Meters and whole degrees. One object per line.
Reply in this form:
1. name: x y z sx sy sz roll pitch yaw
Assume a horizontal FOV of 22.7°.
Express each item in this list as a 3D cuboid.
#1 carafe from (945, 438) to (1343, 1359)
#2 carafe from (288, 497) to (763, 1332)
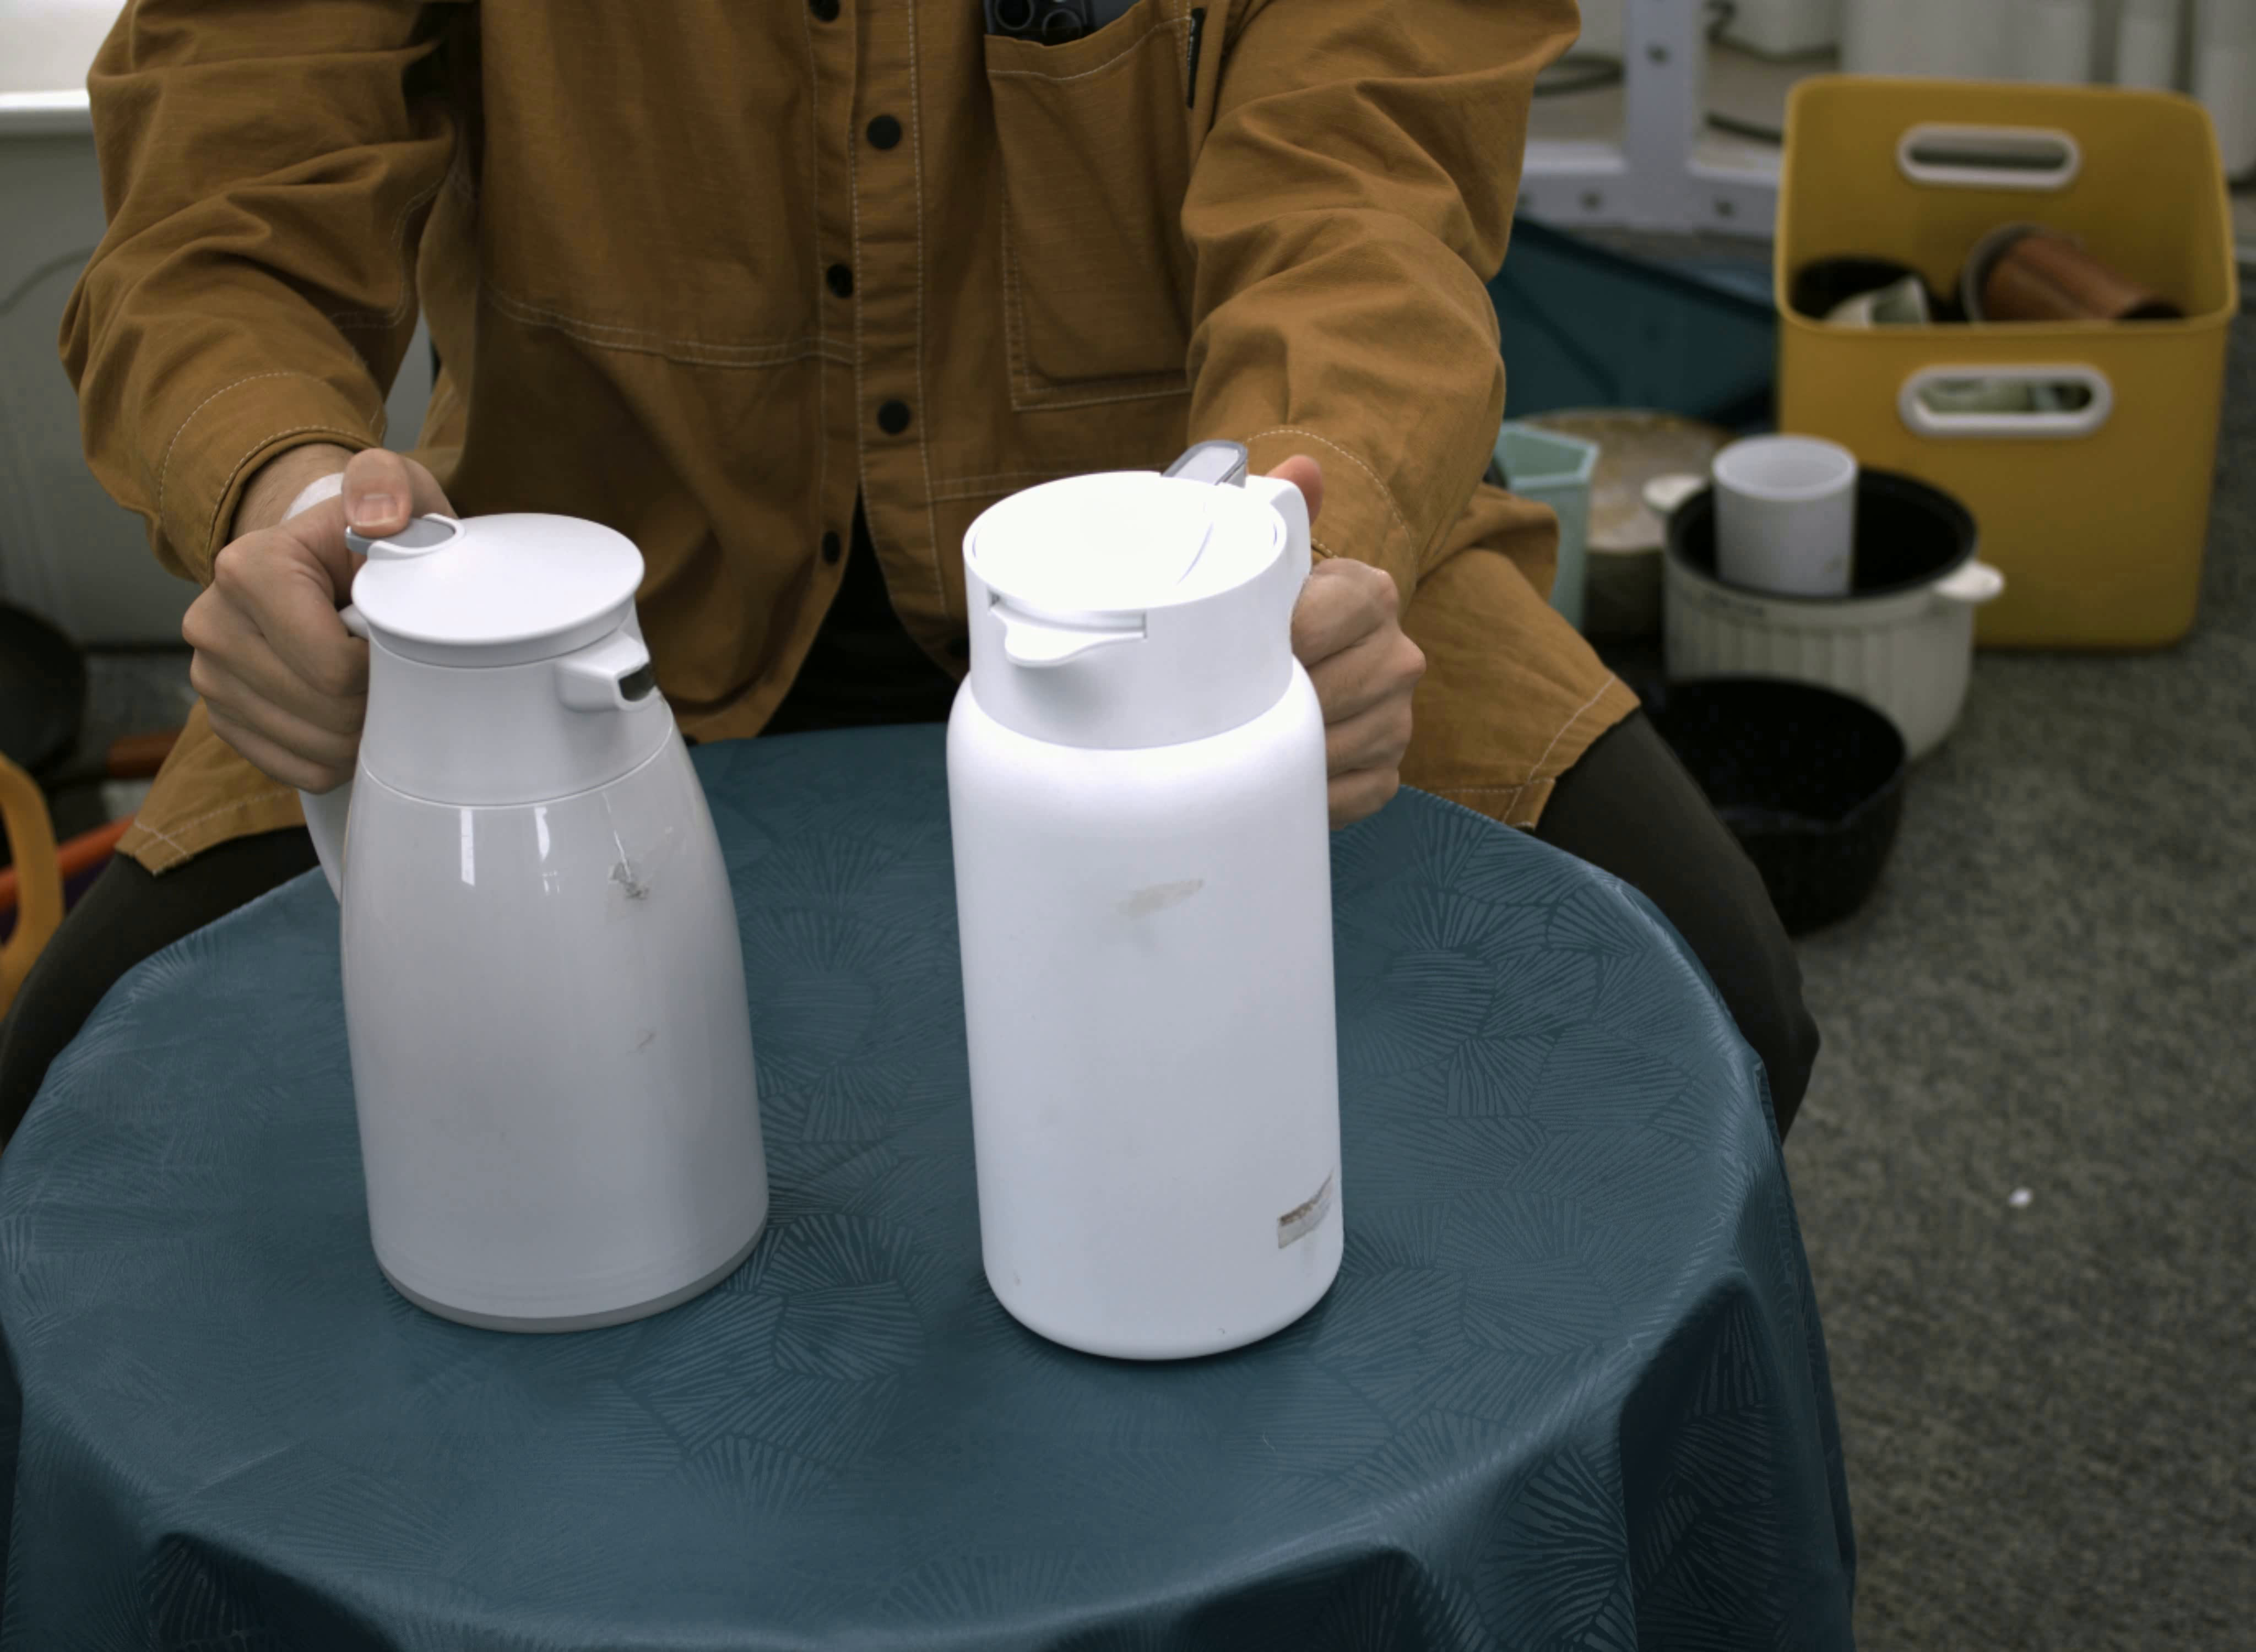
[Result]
1. carafe: 0.011 0.019 1.770 0.123 0.266 0.176 7 28 24
2. carafe: -0.206 0.018 1.812 0.167 0.246 0.134 18 33 38
